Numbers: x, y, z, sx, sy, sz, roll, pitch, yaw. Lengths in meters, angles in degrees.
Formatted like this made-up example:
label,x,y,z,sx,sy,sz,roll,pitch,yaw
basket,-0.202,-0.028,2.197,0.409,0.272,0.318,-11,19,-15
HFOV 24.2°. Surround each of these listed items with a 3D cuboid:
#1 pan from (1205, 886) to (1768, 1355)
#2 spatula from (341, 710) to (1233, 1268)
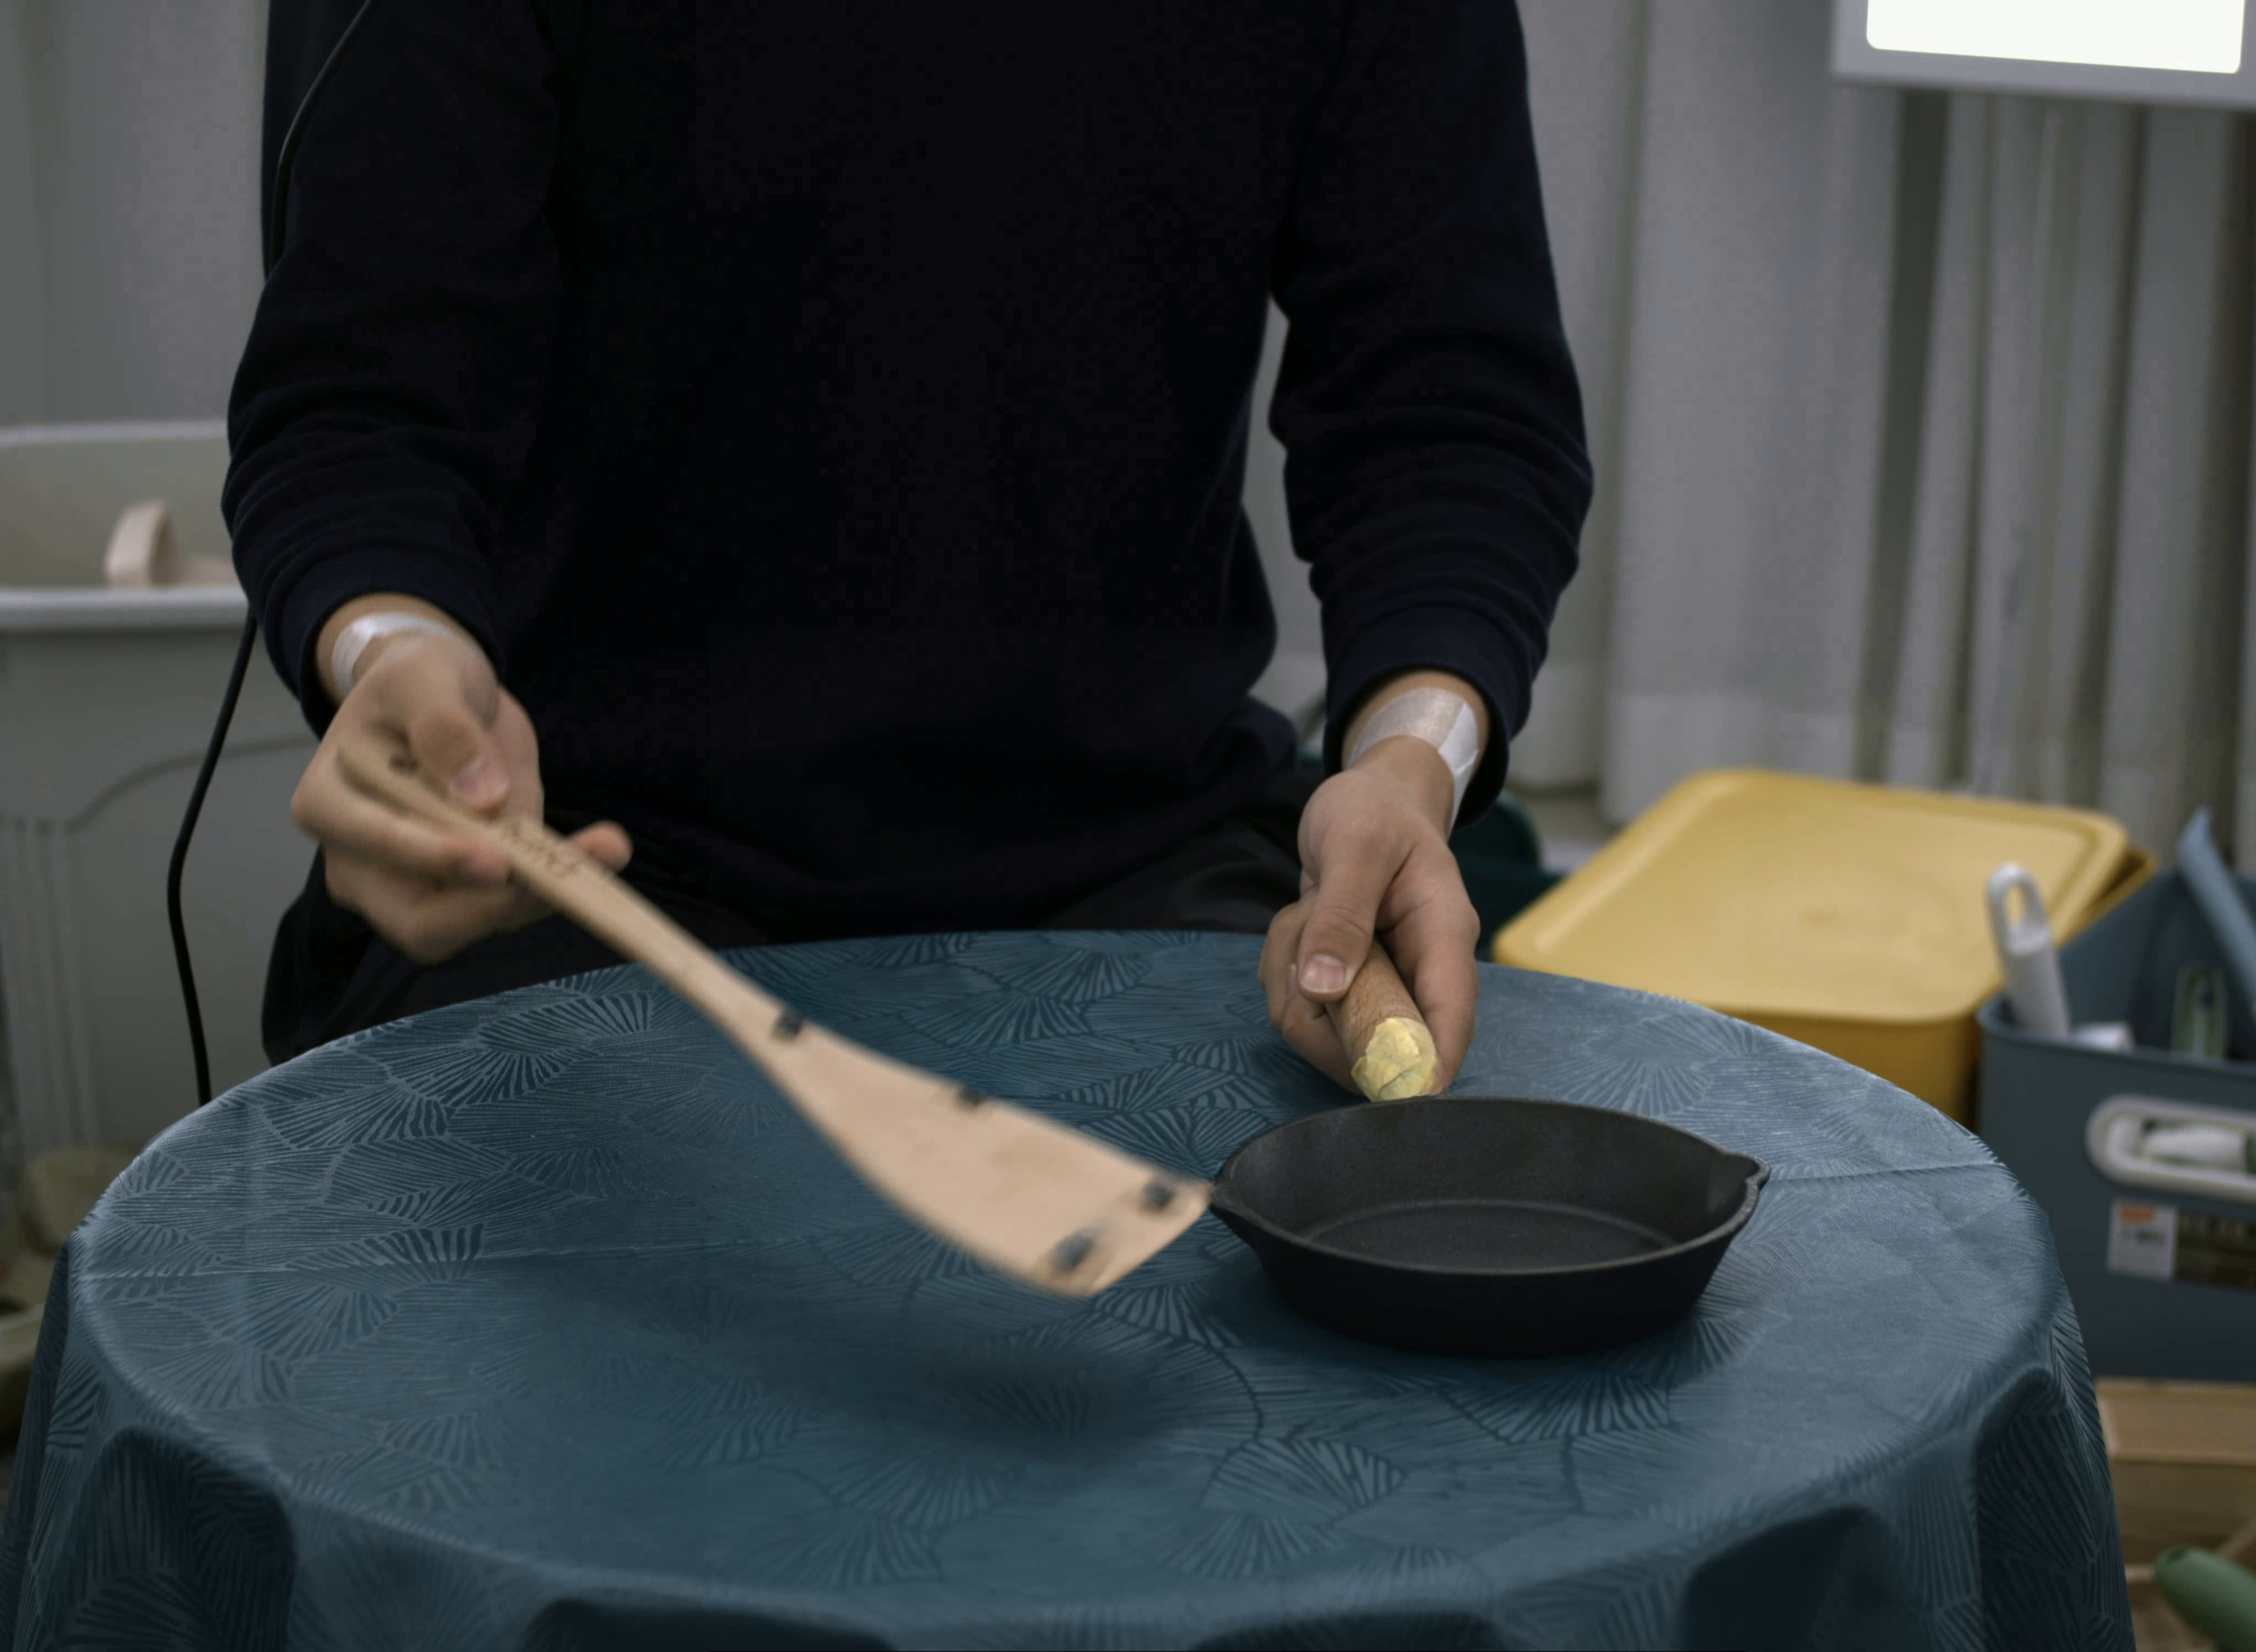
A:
label,x,y,z,sx,sy,sz,roll,pitch,yaw
pan,0.093,0.087,1.621,0.169,0.050,0.321,-2,17,-8
spatula,-0.106,0.040,1.502,0.324,0.016,0.080,32,28,26
